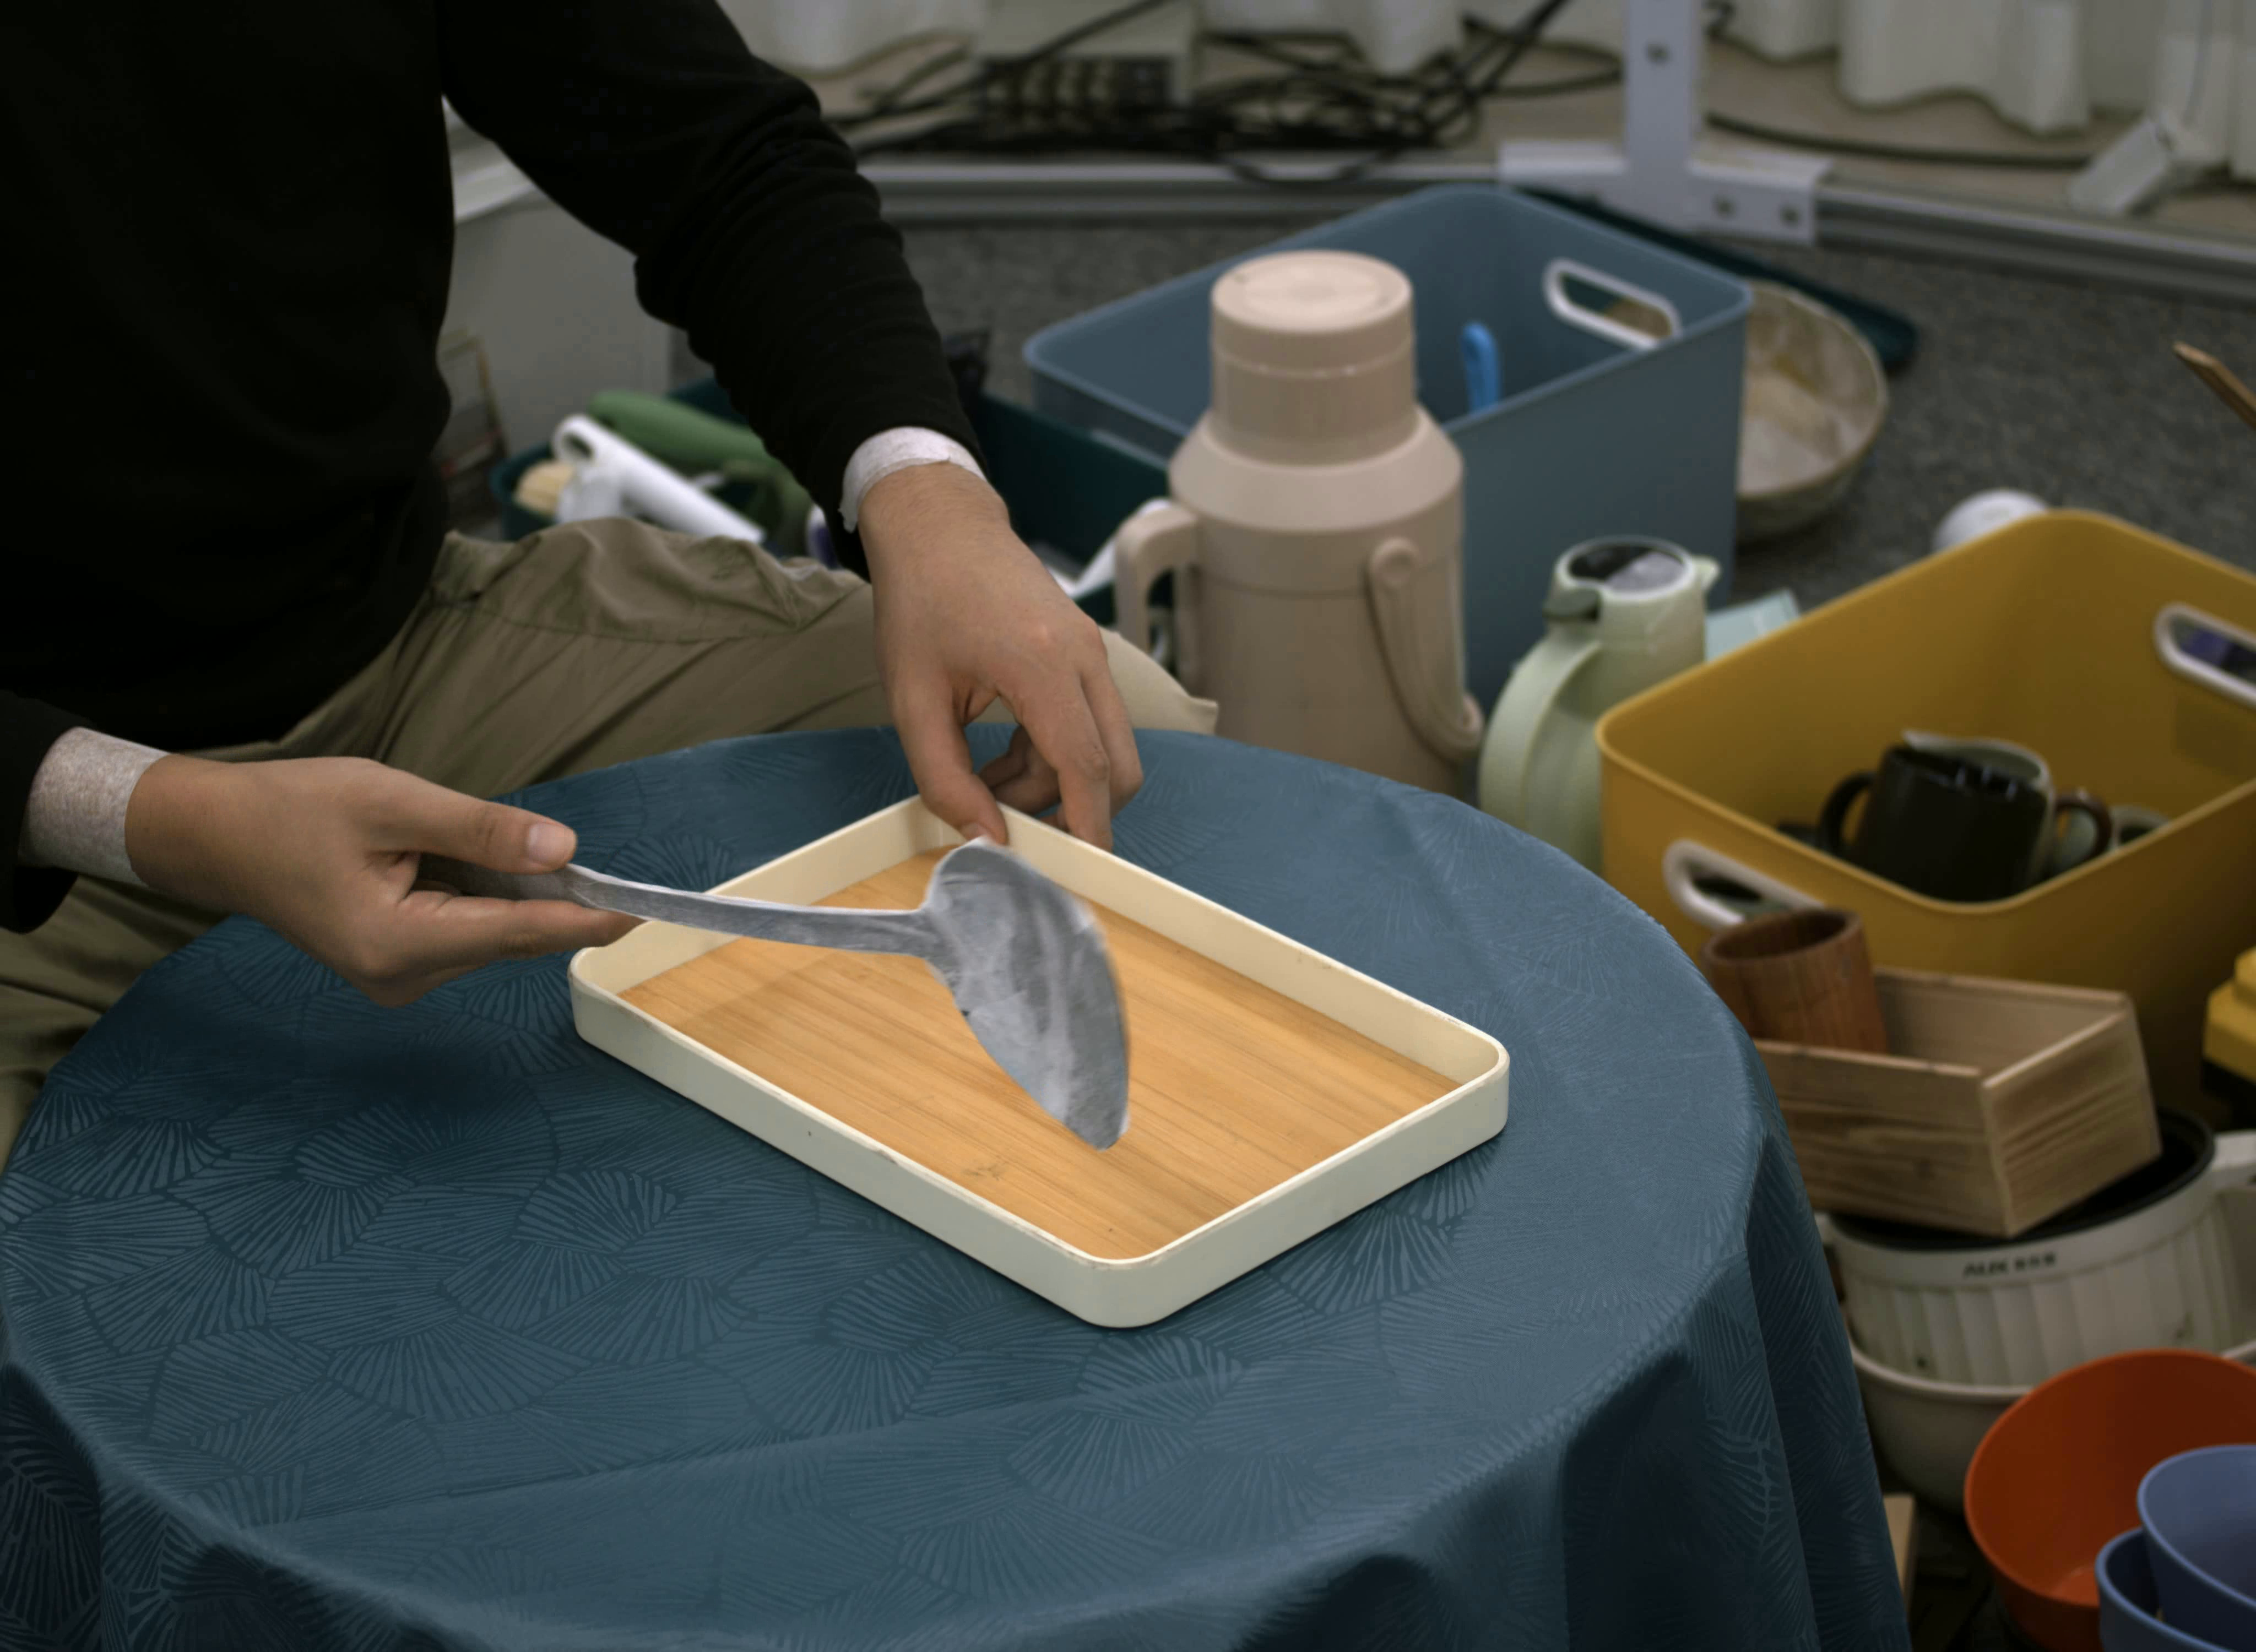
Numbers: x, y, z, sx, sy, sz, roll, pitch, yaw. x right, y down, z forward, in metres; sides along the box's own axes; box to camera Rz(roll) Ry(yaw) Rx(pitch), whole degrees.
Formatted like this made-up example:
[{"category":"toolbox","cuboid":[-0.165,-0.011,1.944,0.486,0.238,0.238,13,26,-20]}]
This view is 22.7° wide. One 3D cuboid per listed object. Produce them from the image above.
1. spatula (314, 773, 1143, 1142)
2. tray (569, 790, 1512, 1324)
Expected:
[{"category":"spatula","cuboid":[-0.140,0.027,1.863,0.362,0.098,0.045,9,27,30]},{"category":"tray","cuboid":[-0.033,0.074,1.928,0.194,0.027,0.300,-25,34,-35]}]
